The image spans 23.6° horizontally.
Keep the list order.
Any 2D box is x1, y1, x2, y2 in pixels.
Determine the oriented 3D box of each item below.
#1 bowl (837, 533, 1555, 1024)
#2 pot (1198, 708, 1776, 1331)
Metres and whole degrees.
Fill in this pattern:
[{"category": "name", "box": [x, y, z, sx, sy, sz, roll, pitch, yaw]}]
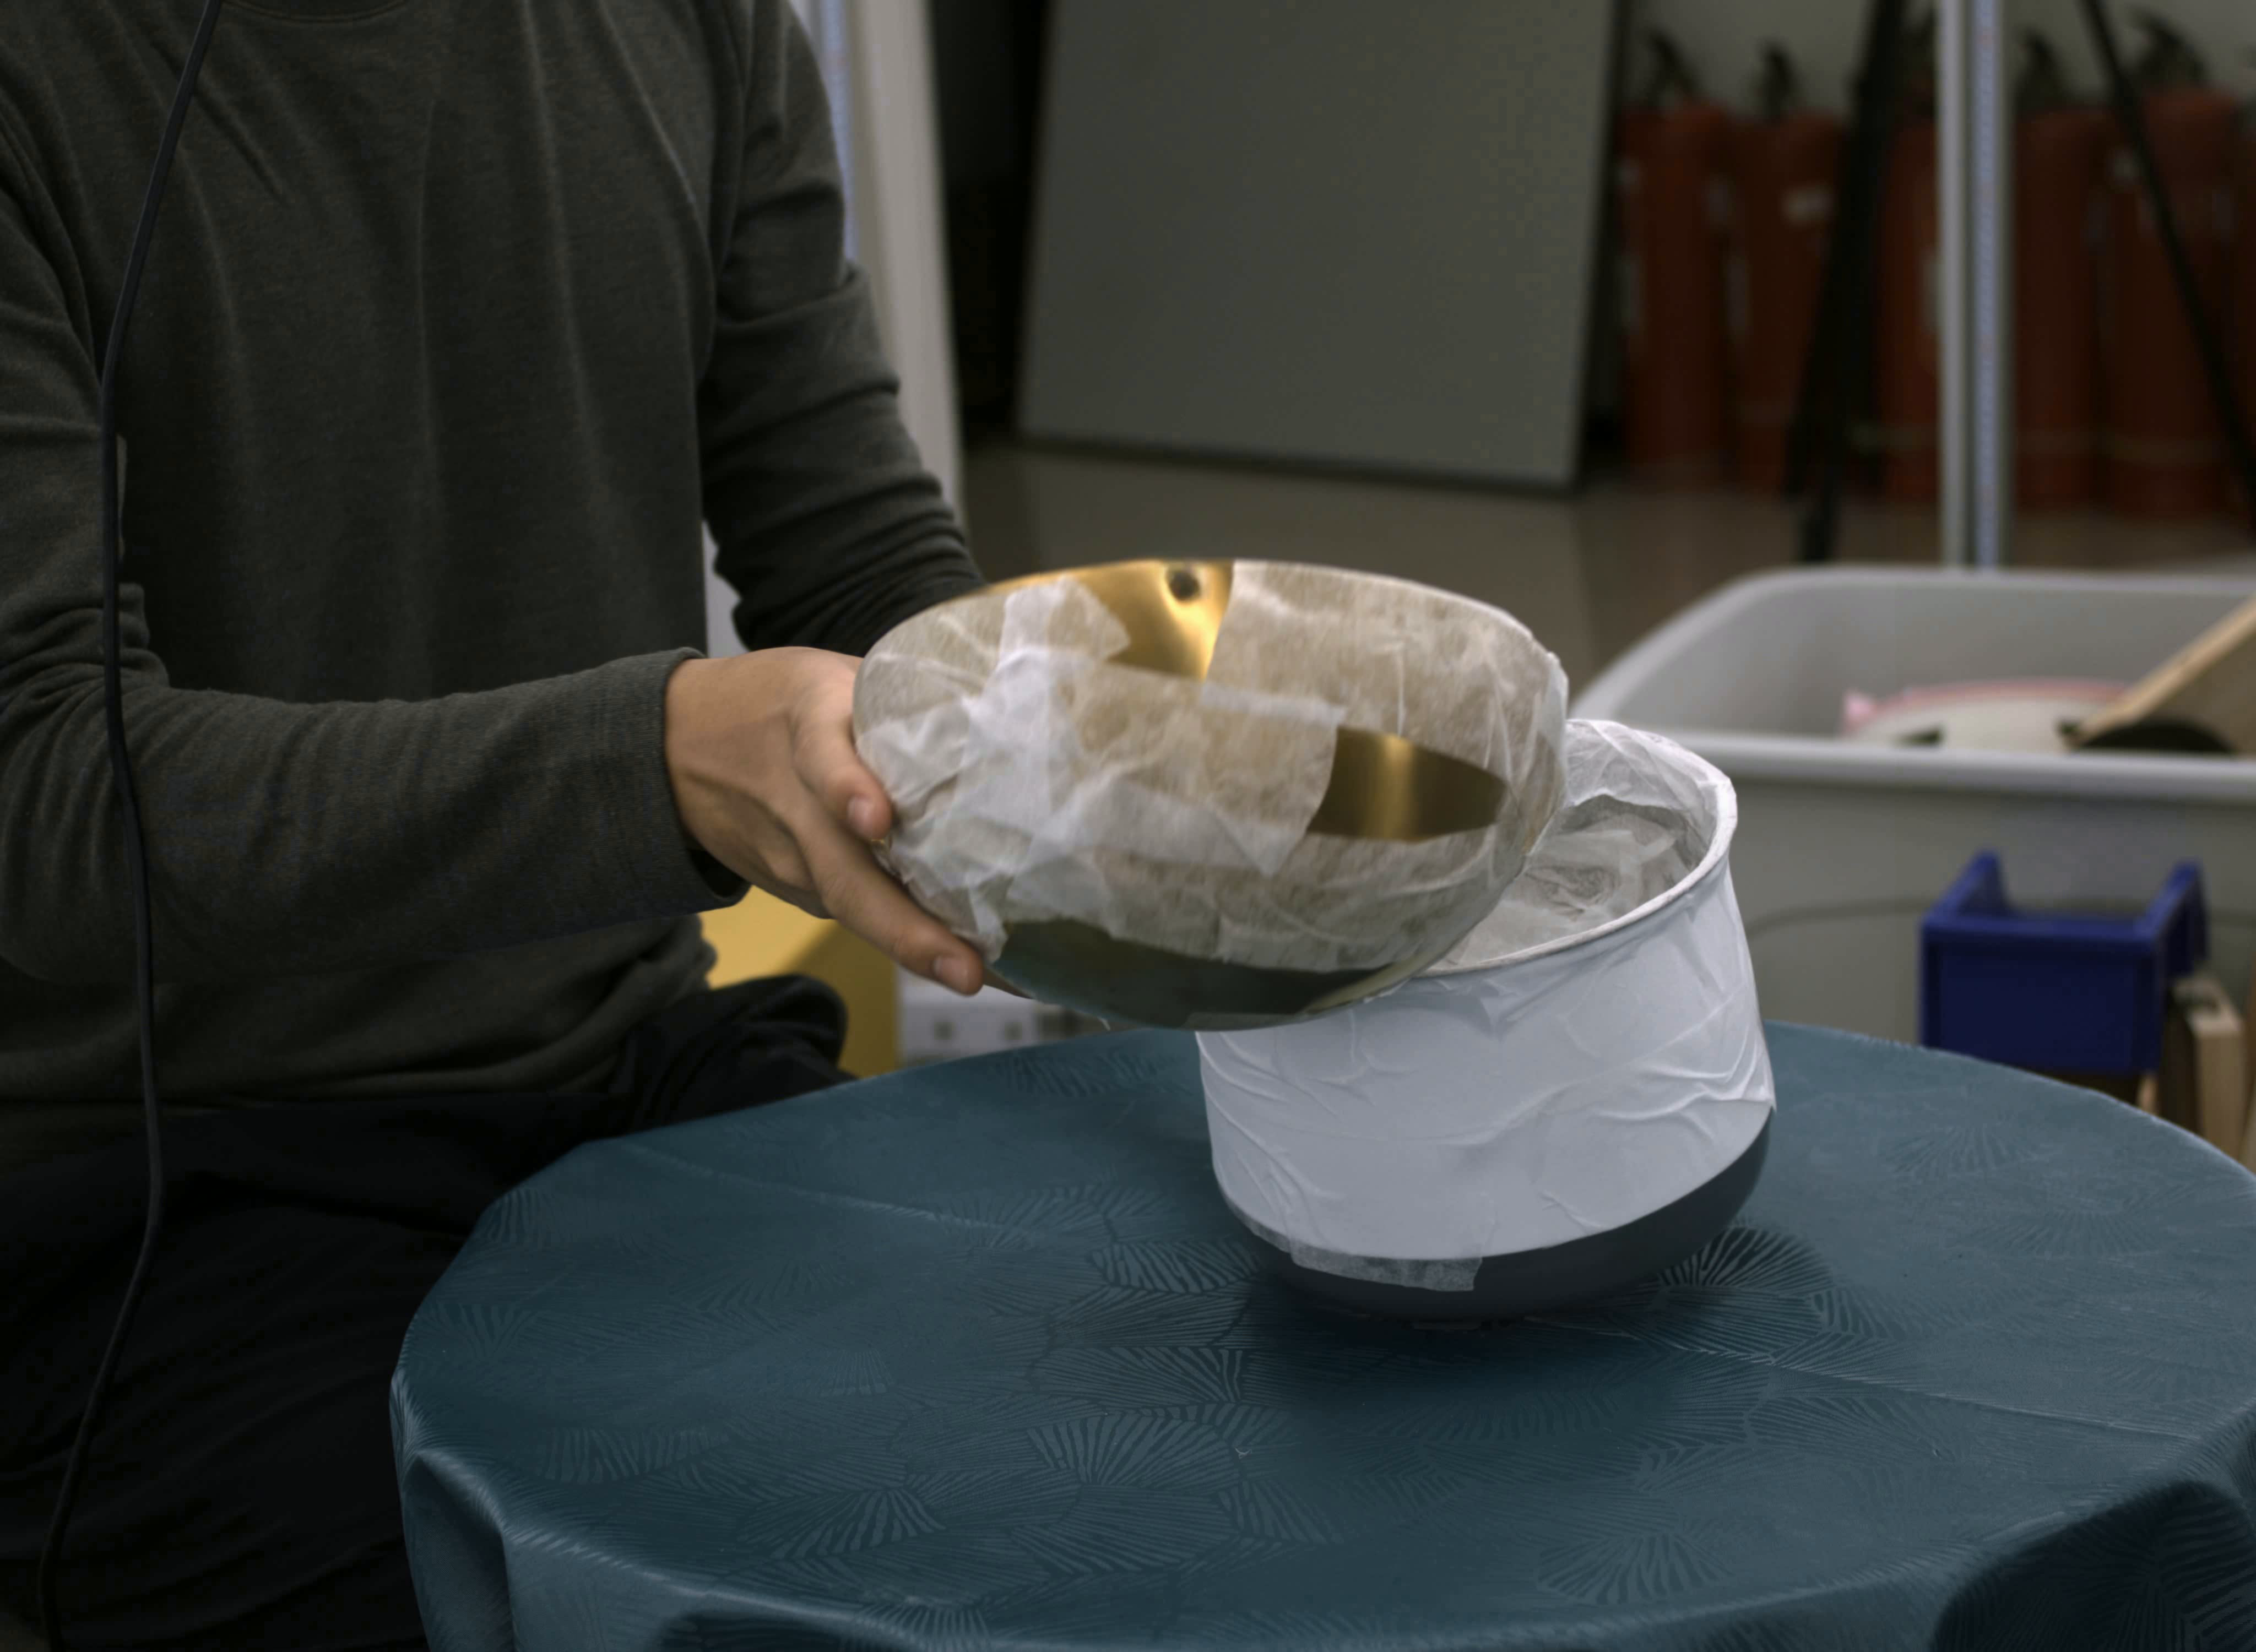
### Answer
[{"category": "bowl", "box": [0.018, 0.001, 1.487, 0.212, 0.096, 0.215, 0, -19, -1]}, {"category": "pot", "box": [0.095, 0.052, 1.673, 0.175, 0.137, 0.236, -20, 24, -20]}]
